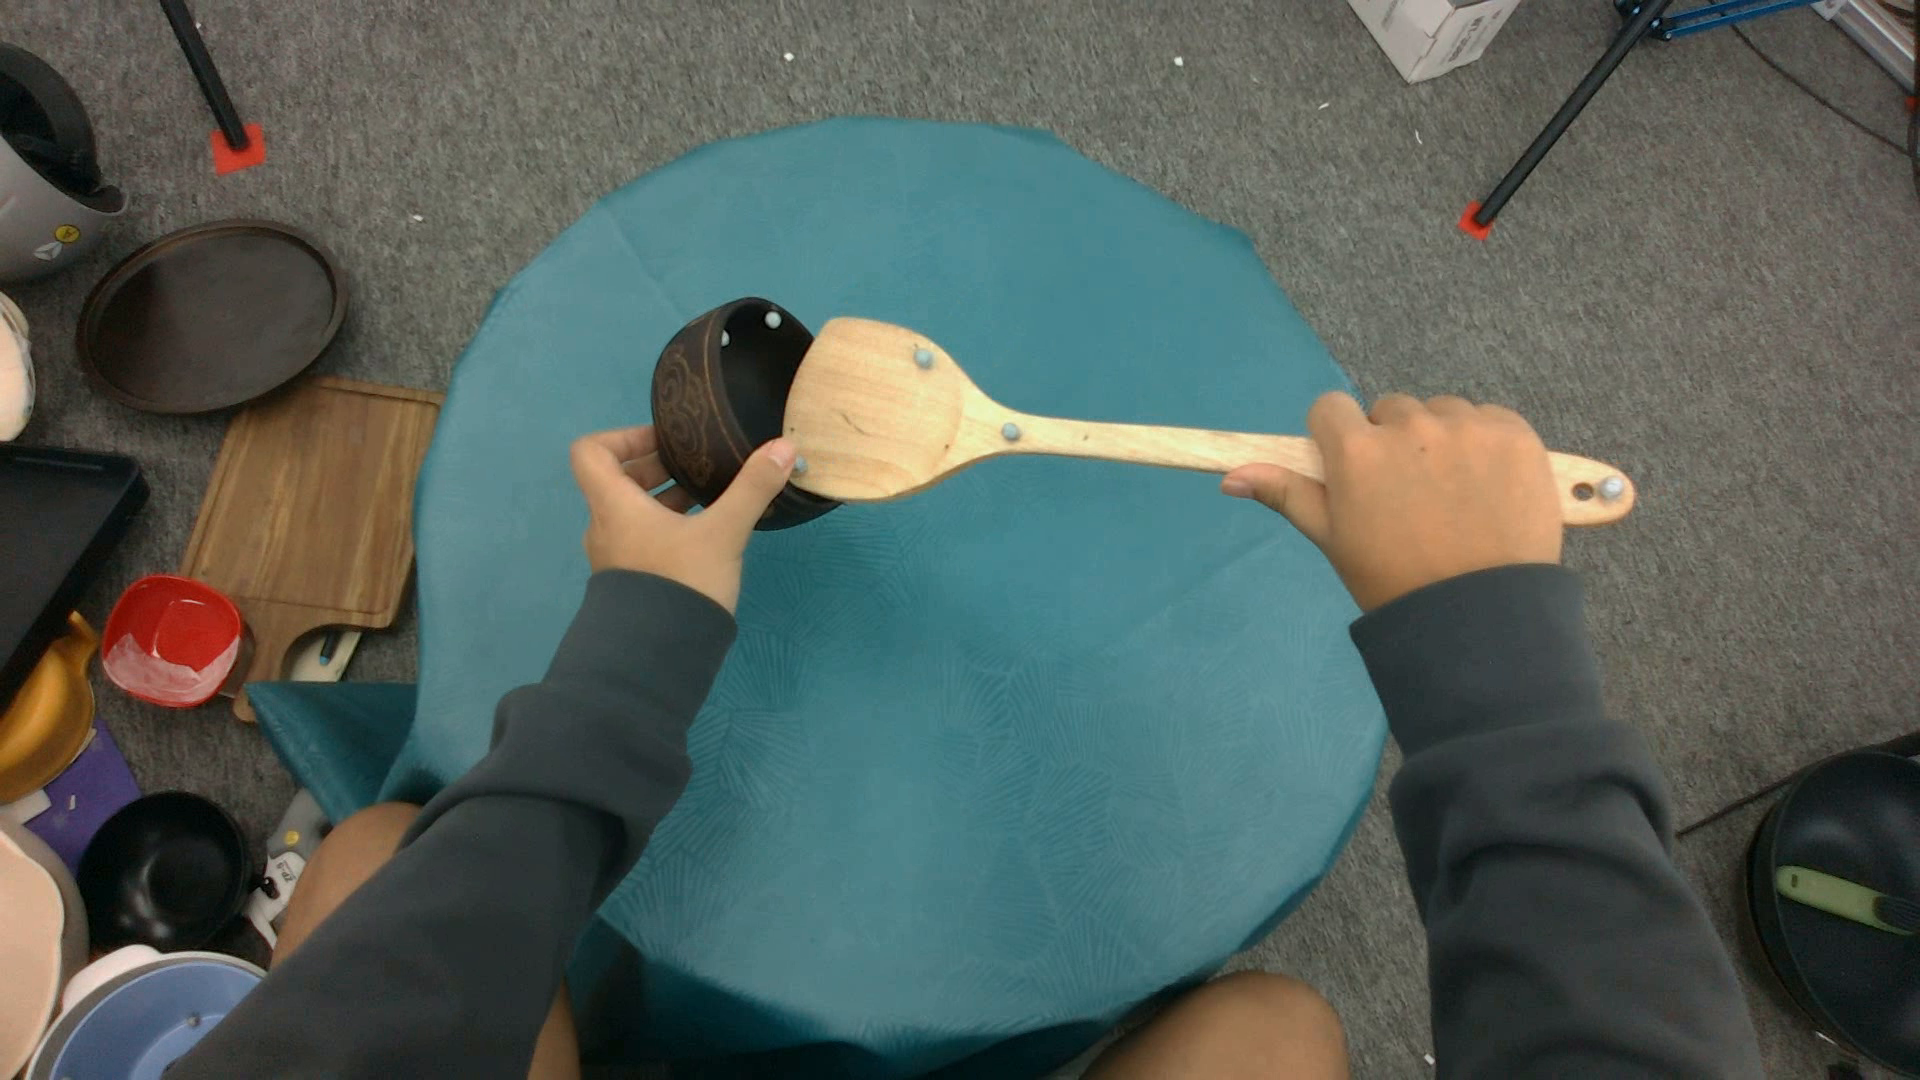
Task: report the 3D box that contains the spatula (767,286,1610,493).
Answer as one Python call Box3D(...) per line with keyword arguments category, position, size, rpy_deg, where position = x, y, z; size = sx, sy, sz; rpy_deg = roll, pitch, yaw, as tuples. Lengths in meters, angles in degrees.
Box3D(category="spatula", position=(0.083, -0.060, 0.627), size=(0.390, 0.018, 0.096), rpy_deg=(8, 81, 24))

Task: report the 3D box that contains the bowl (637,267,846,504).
Box3D(category="bowl", position=(-0.118, -0.072, 0.703), size=(0.069, 0.118, 0.118), rpy_deg=(-22, 66, 26))
